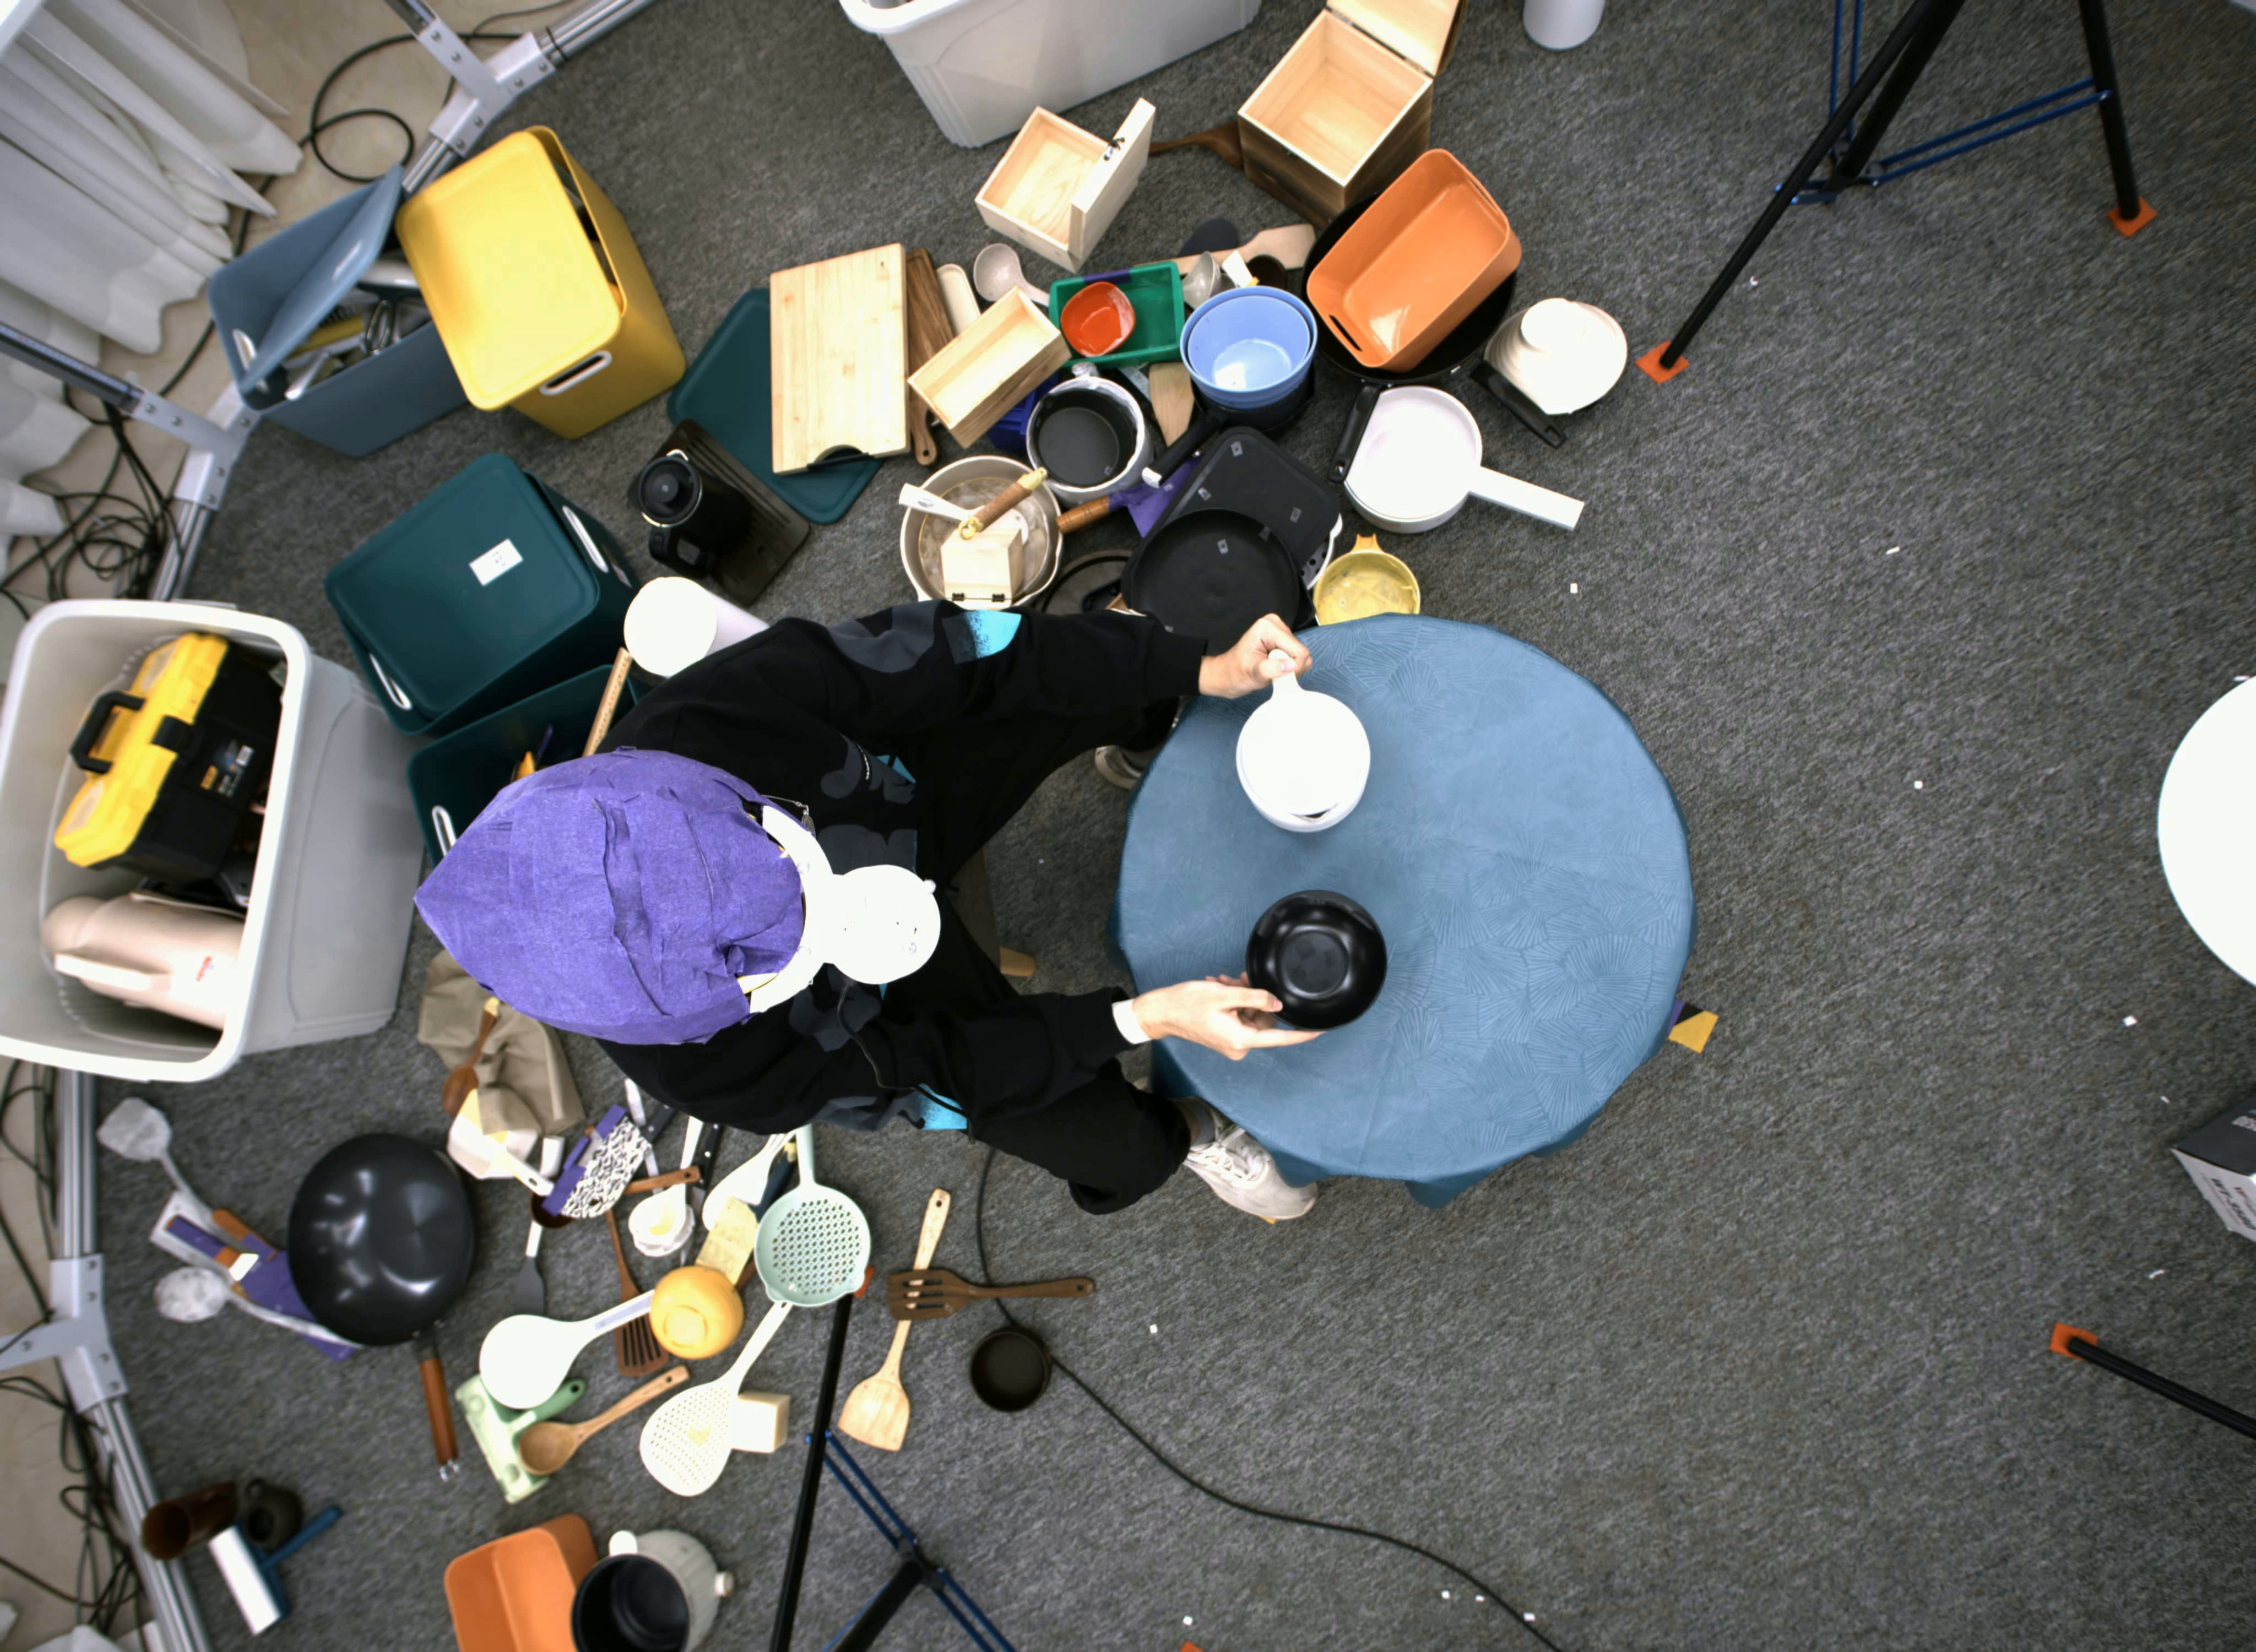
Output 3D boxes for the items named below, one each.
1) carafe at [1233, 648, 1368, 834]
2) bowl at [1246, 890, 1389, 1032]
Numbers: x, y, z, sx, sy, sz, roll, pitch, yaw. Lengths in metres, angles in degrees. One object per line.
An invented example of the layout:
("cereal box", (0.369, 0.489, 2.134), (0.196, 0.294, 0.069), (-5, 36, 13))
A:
("carafe", (0.169, -0.088, 1.393), (0.133, 0.183, 0.190), (-15, 82, 6))
("bowl", (0.187, 0.133, 1.373), (0.140, 0.050, 0.139), (-1, 86, 7))
